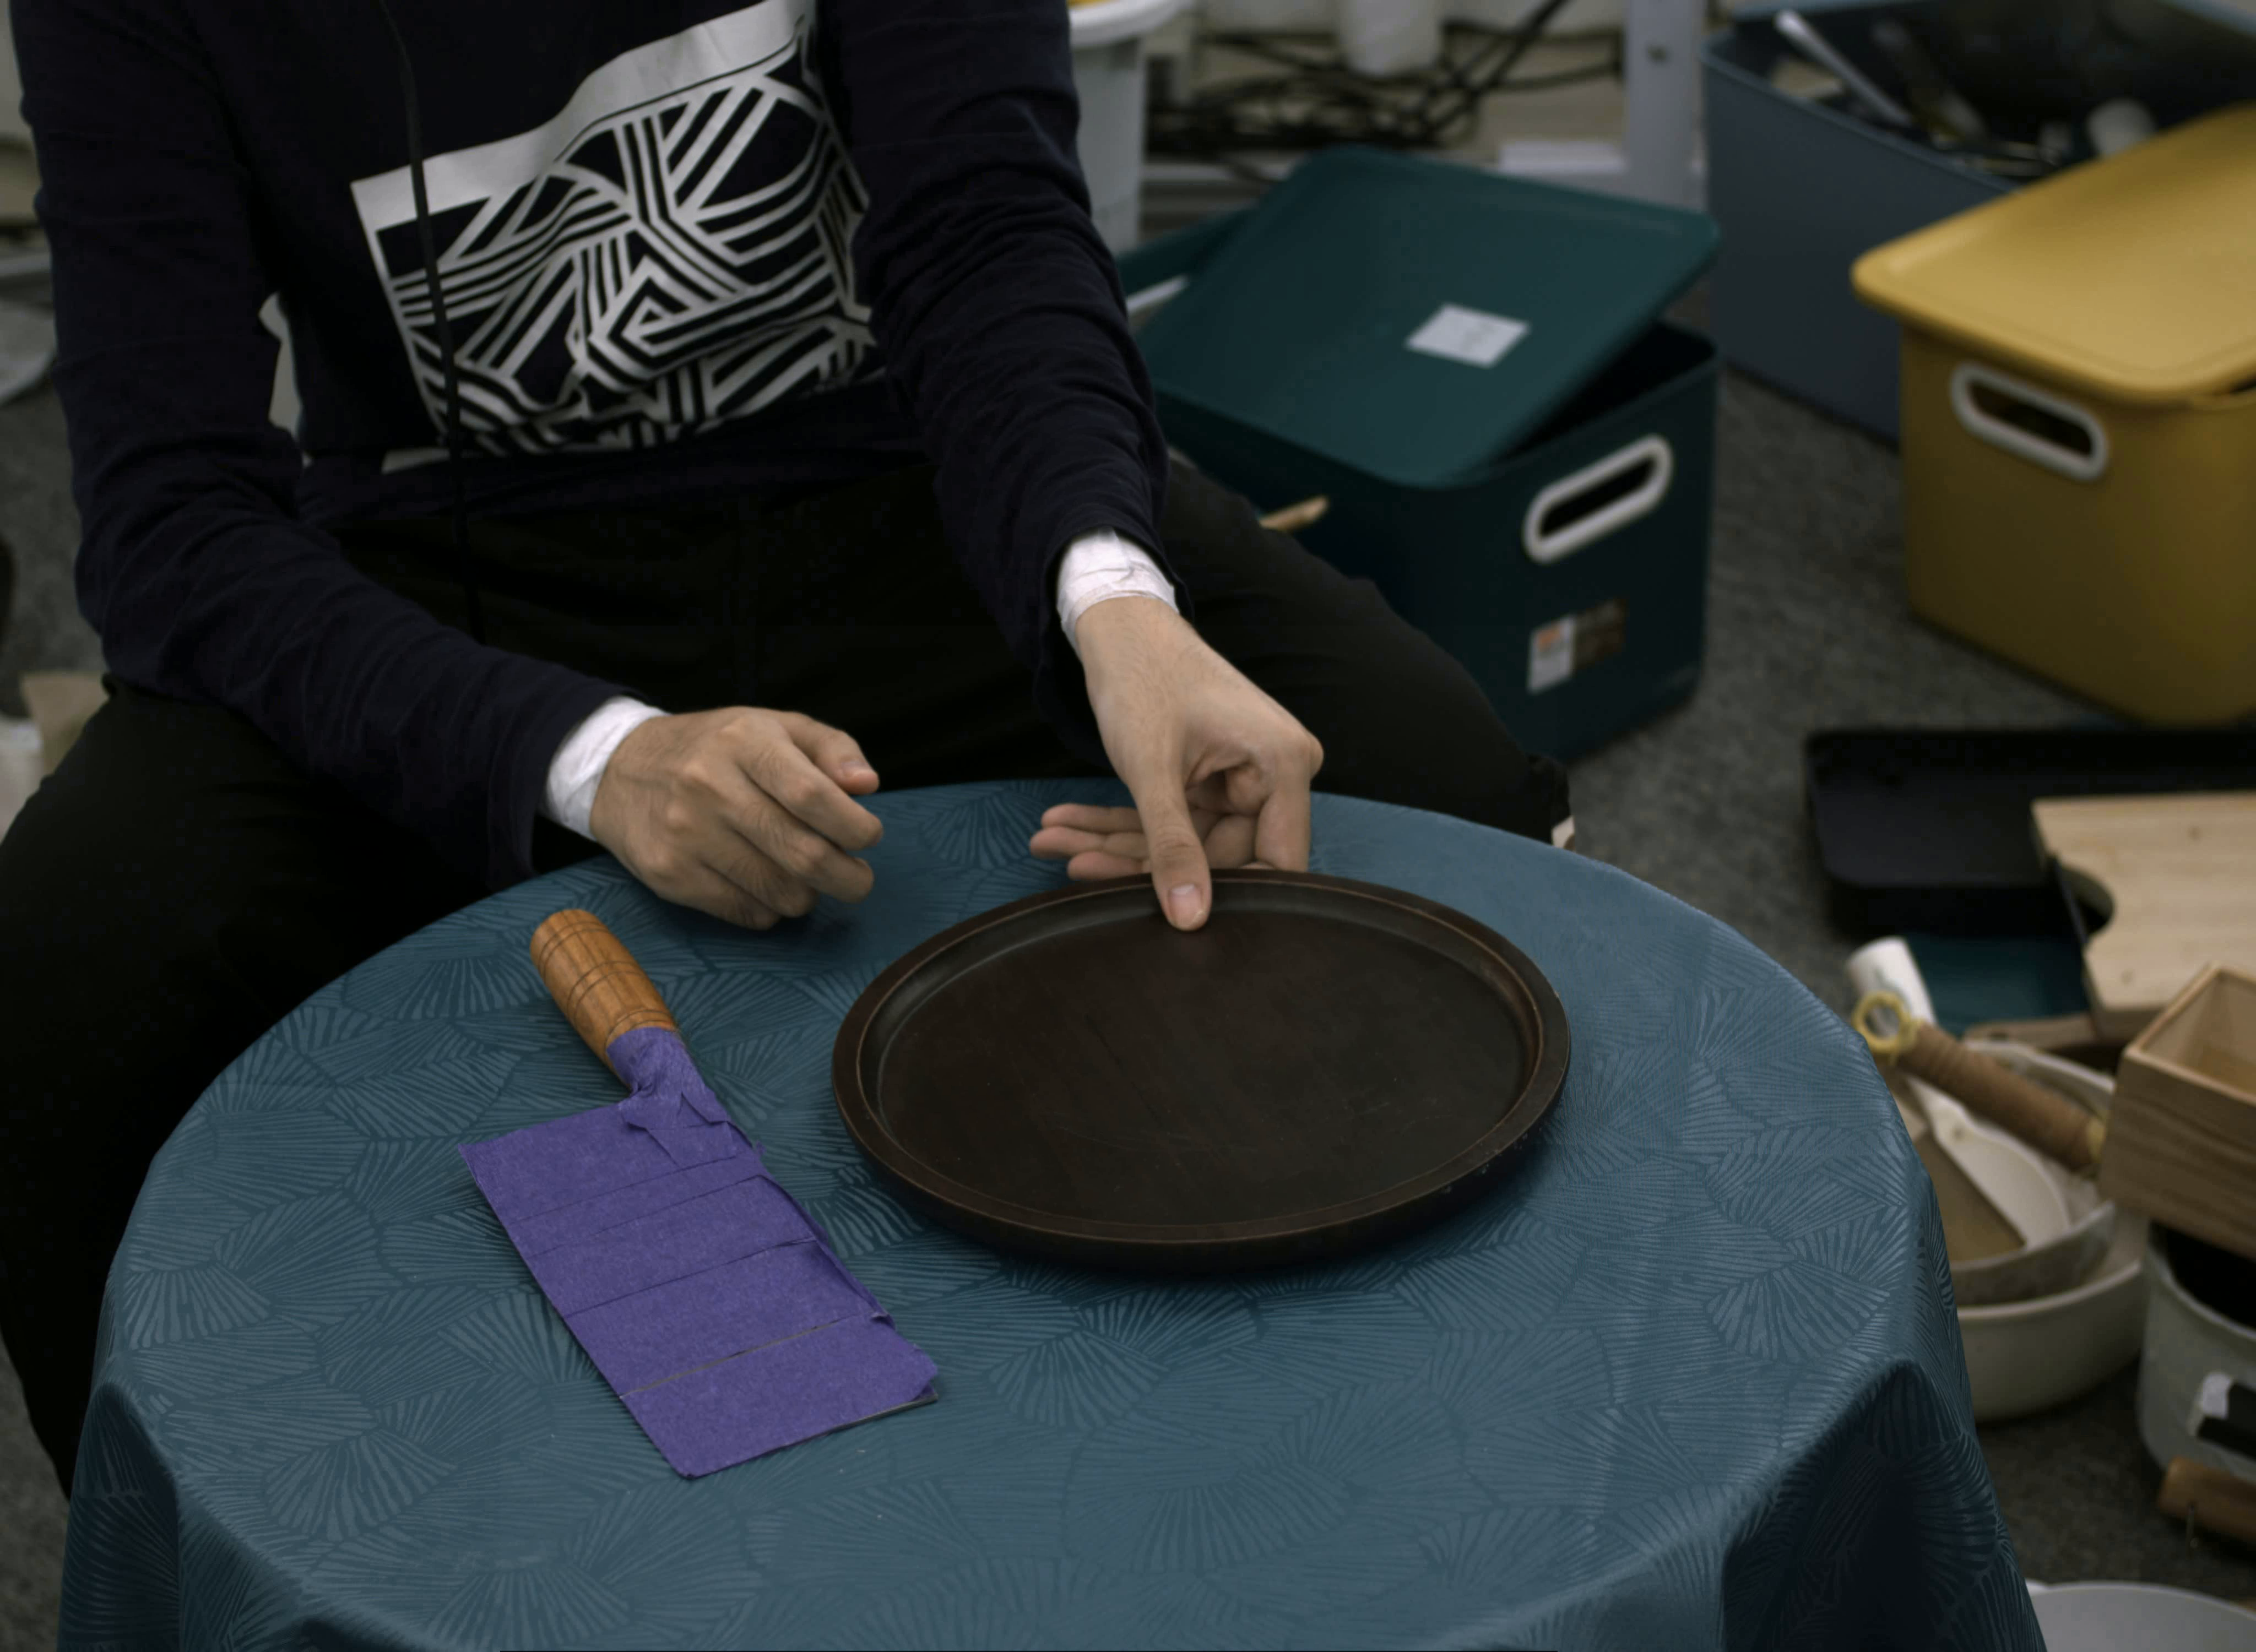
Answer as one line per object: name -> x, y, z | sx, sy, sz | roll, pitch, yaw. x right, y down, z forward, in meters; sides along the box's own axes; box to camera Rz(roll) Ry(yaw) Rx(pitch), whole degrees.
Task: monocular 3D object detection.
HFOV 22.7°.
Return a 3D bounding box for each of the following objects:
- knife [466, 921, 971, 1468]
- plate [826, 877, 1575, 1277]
knife -> -0.162, 0.117, 1.856 | 0.104, 0.032, 0.317 | -14, 30, -22
plate -> 0.025, 0.083, 1.908 | 0.253, 0.029, 0.259 | -1, 28, 1
